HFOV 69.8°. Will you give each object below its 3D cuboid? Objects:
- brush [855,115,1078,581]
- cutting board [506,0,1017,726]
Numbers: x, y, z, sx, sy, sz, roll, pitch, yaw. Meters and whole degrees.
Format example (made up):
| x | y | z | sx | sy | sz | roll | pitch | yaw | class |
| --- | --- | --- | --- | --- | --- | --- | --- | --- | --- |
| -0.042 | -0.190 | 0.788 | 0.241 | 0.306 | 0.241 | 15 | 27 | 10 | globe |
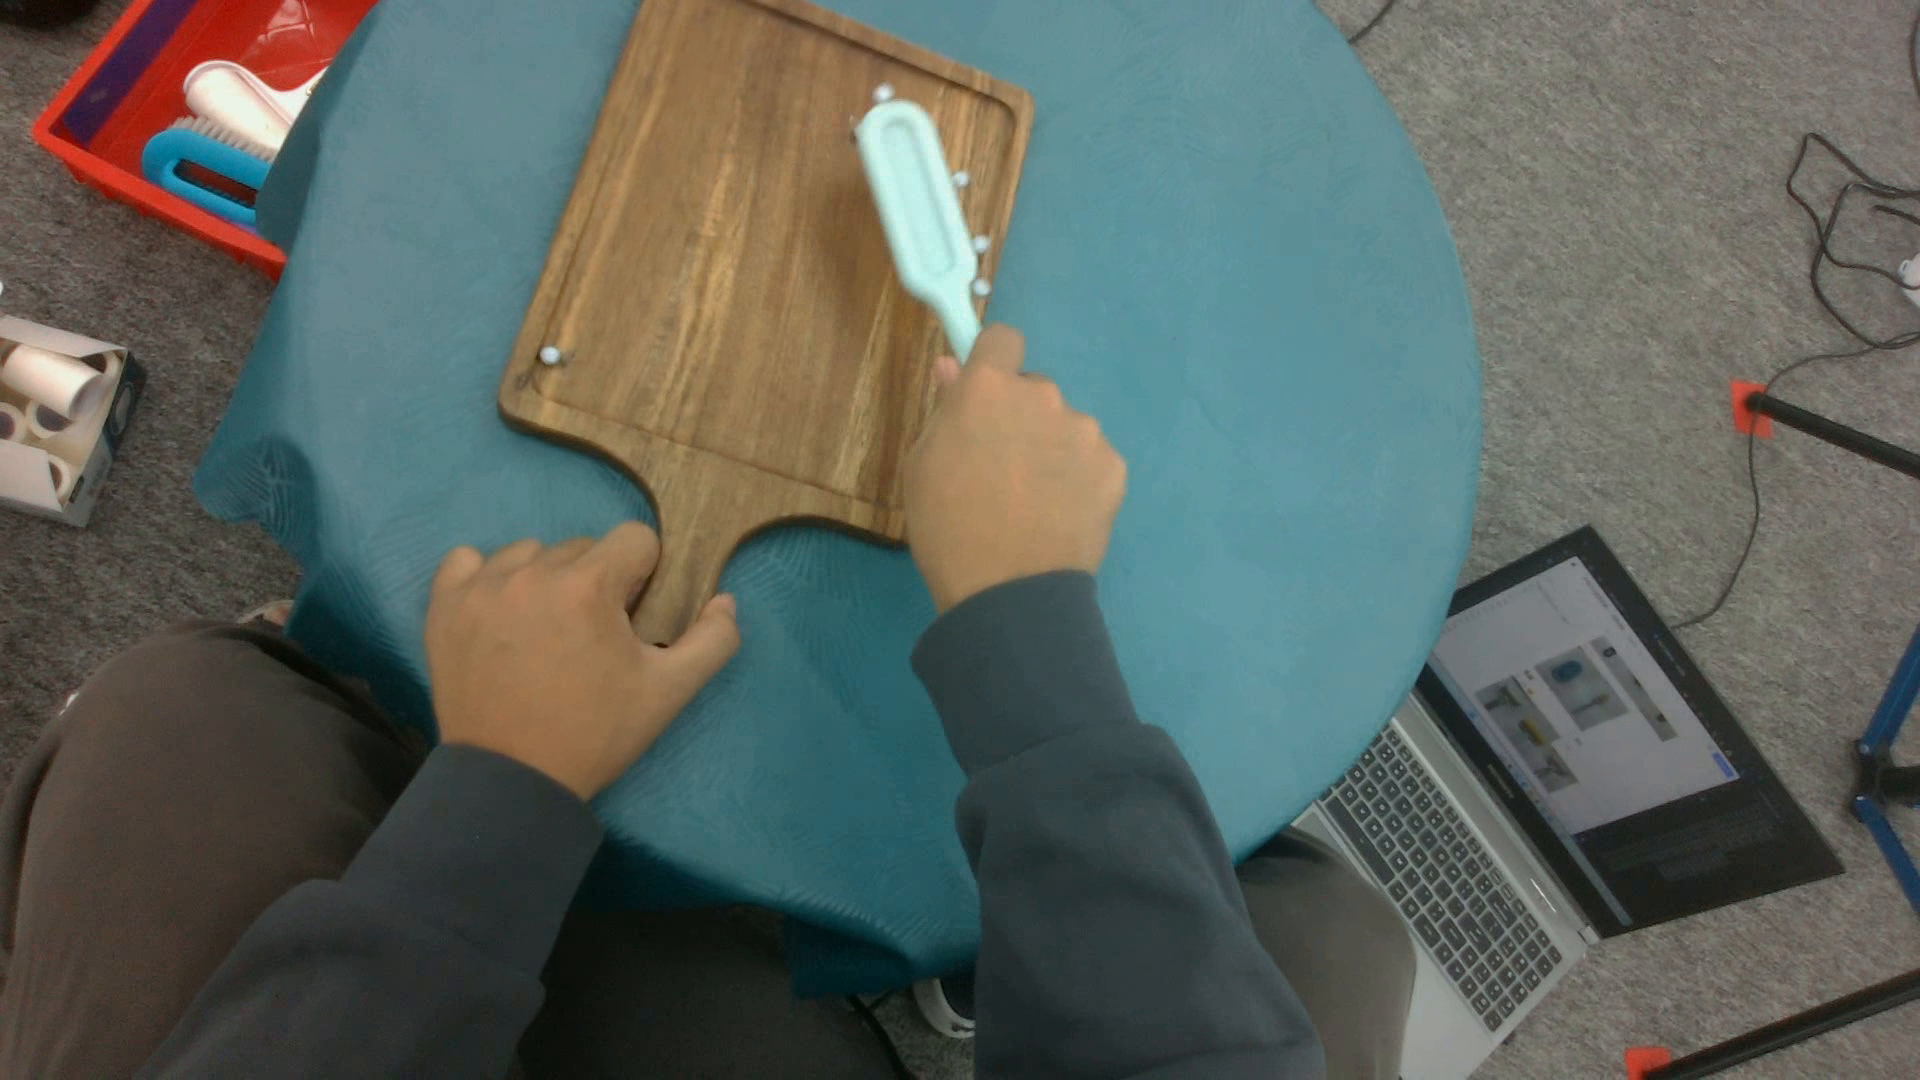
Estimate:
| x | y | z | sx | sy | sz | roll | pitch | yaw | class |
| --- | --- | --- | --- | --- | --- | --- | --- | --- | --- |
| 0.004 | -0.087 | 0.620 | 0.038 | 0.049 | 0.229 | -20 | 73 | -7 | brush |
| -0.097 | -0.085 | 0.653 | 0.201 | 0.023 | 0.353 | 16 | 72 | -11 | cutting board |
